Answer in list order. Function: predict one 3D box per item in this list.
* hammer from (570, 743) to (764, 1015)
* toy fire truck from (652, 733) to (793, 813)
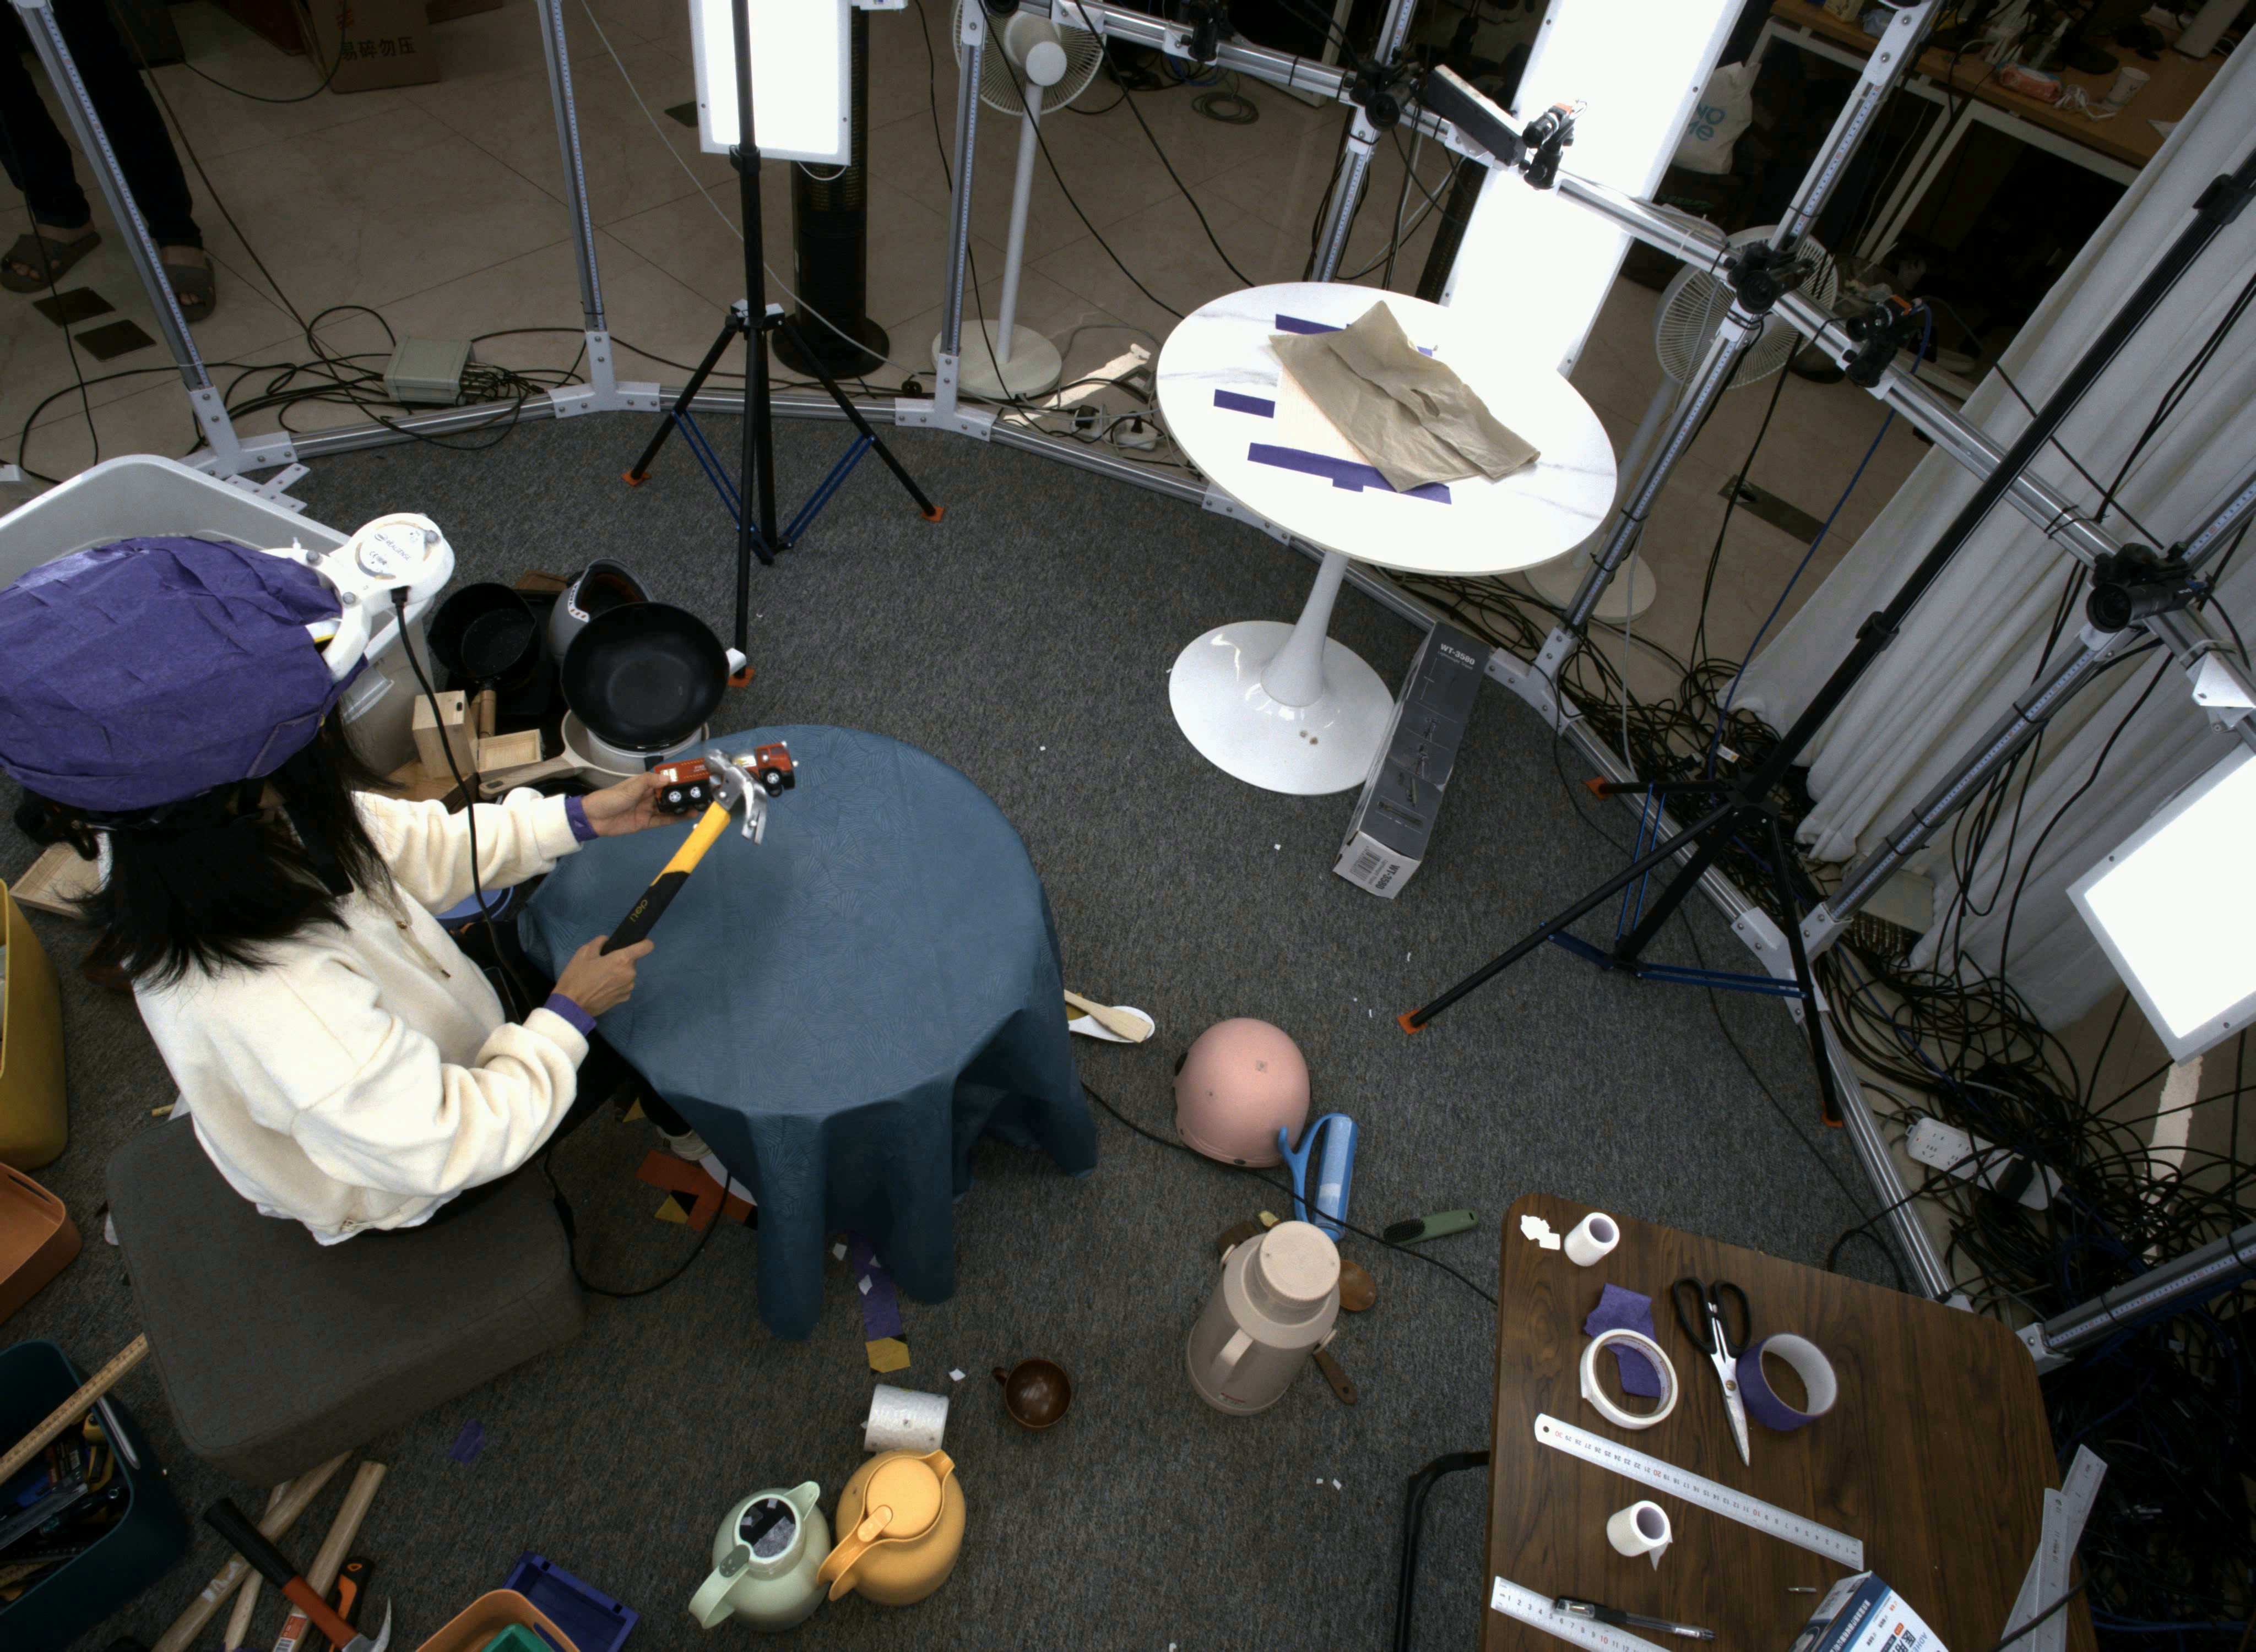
[{"bbox_3d":[-0.535,0.069,1.462,0.127,0.033,0.339,35,86,30],"label":"hammer"},{"bbox_3d":[-0.484,-0.063,1.536,0.168,0.054,0.070,-13,74,-18],"label":"toy fire truck"}]
